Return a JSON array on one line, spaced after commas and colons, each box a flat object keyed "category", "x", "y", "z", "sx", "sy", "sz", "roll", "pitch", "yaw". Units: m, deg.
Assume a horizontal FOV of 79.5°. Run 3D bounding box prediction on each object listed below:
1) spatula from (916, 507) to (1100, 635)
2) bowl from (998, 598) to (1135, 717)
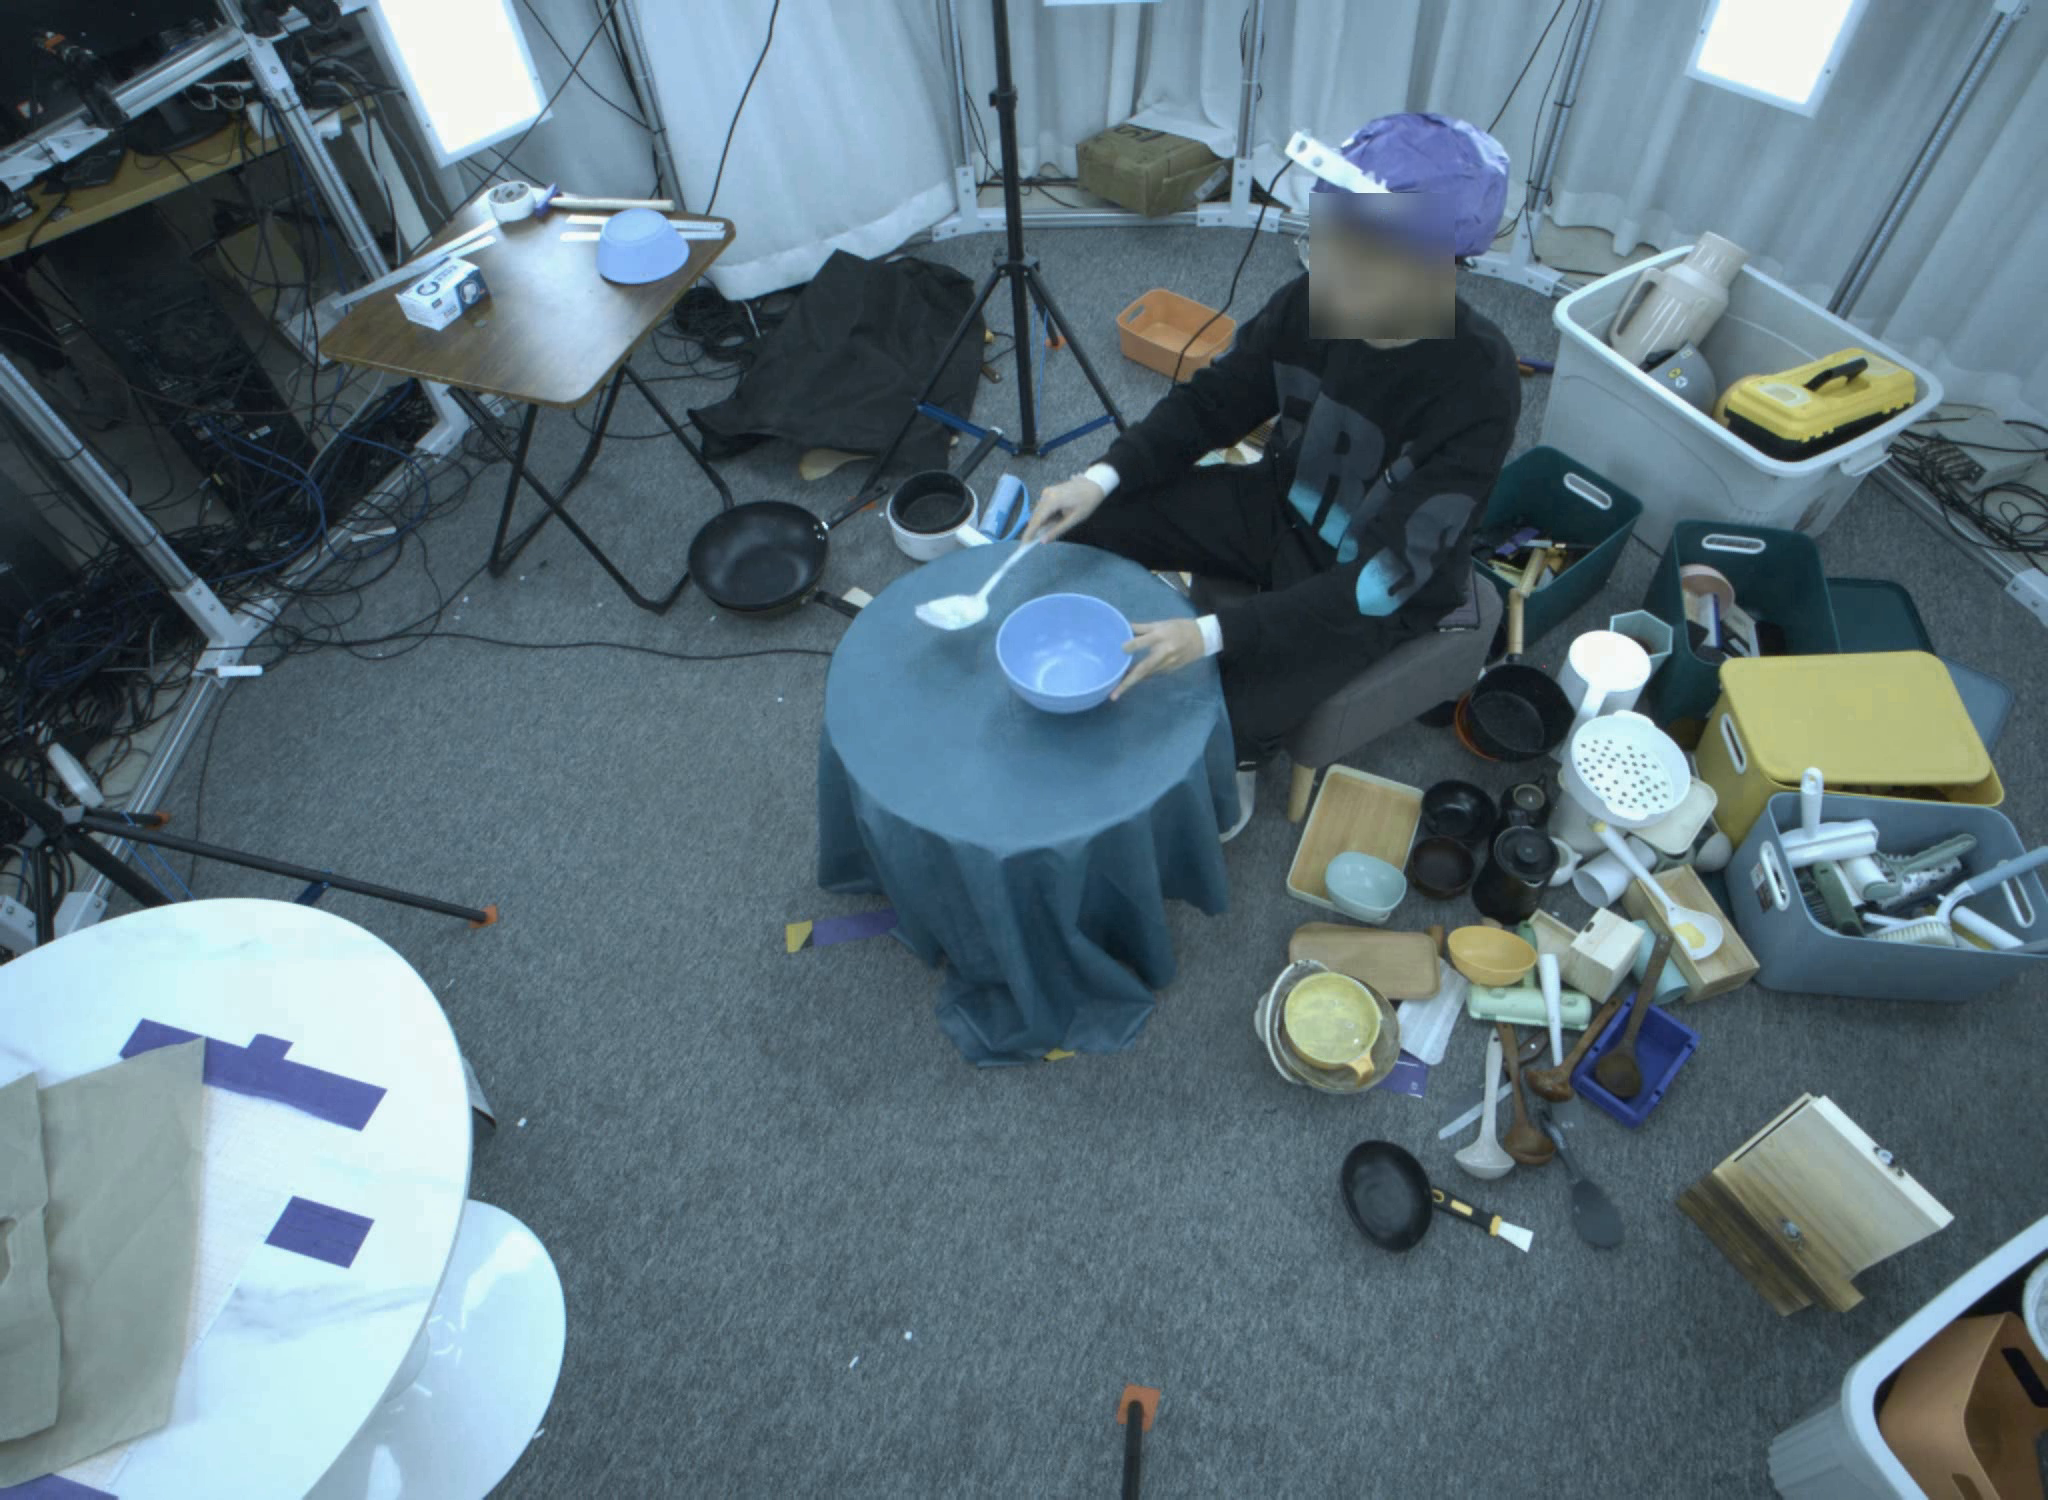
[{"category": "spatula", "x": -0.014, "y": -0.289, "z": 1.900, "sx": 0.096, "sy": 0.045, "sz": 0.366, "roll": 30, "pitch": 65, "yaw": 36}, {"category": "bowl", "x": 0.063, "y": -0.120, "z": 1.790, "sx": 0.196, "sy": 0.096, "sz": 0.194, "roll": 0, "pitch": 54, "yaw": 2}]
